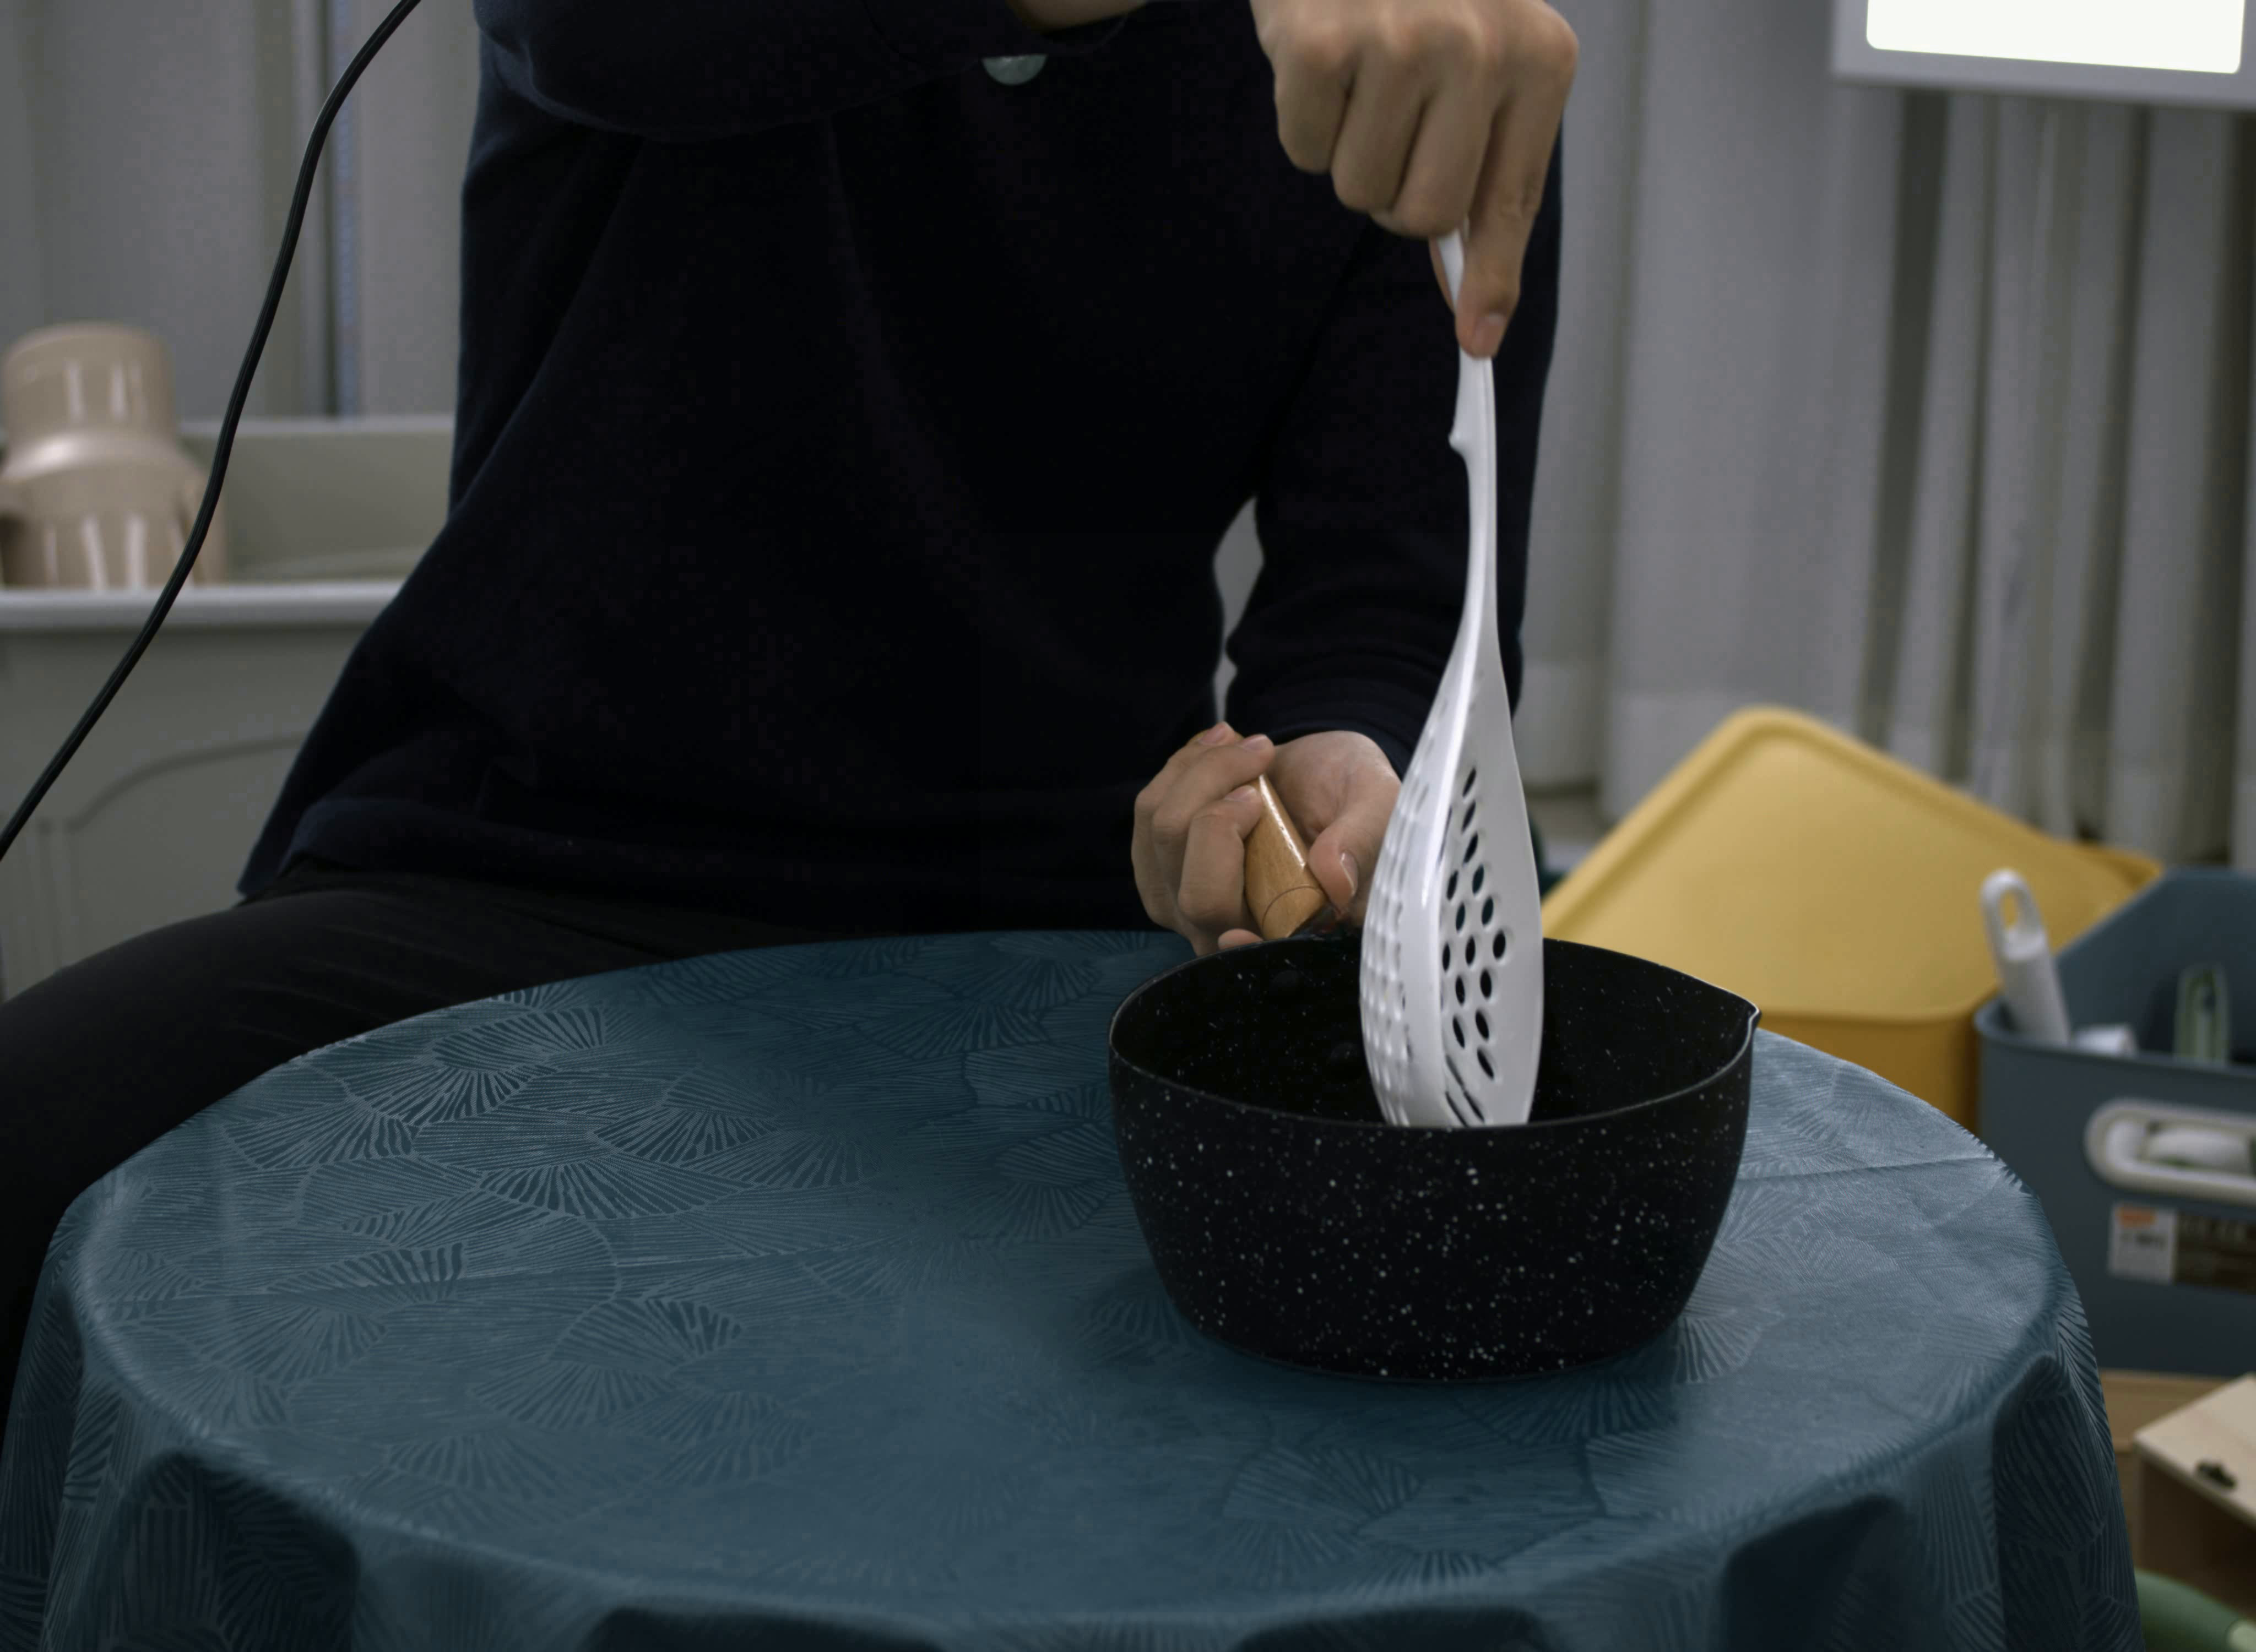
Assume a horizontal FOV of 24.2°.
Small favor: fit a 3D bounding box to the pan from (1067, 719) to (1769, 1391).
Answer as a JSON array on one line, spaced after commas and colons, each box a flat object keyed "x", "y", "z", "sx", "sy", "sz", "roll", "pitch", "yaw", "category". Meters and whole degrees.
[{"x": 0.067, "y": 0.064, "z": 1.594, "sx": 0.208, "sy": 0.109, "sz": 0.339, "roll": -5, "pitch": 18, "yaw": -14, "category": "pan"}]

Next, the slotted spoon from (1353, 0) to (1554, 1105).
[{"x": 0.090, "y": -0.061, "z": 1.502, "sx": 0.050, "sy": 0.351, "sz": 0.137, "roll": 6, "pitch": 17, "yaw": 16, "category": "slotted spoon"}]
